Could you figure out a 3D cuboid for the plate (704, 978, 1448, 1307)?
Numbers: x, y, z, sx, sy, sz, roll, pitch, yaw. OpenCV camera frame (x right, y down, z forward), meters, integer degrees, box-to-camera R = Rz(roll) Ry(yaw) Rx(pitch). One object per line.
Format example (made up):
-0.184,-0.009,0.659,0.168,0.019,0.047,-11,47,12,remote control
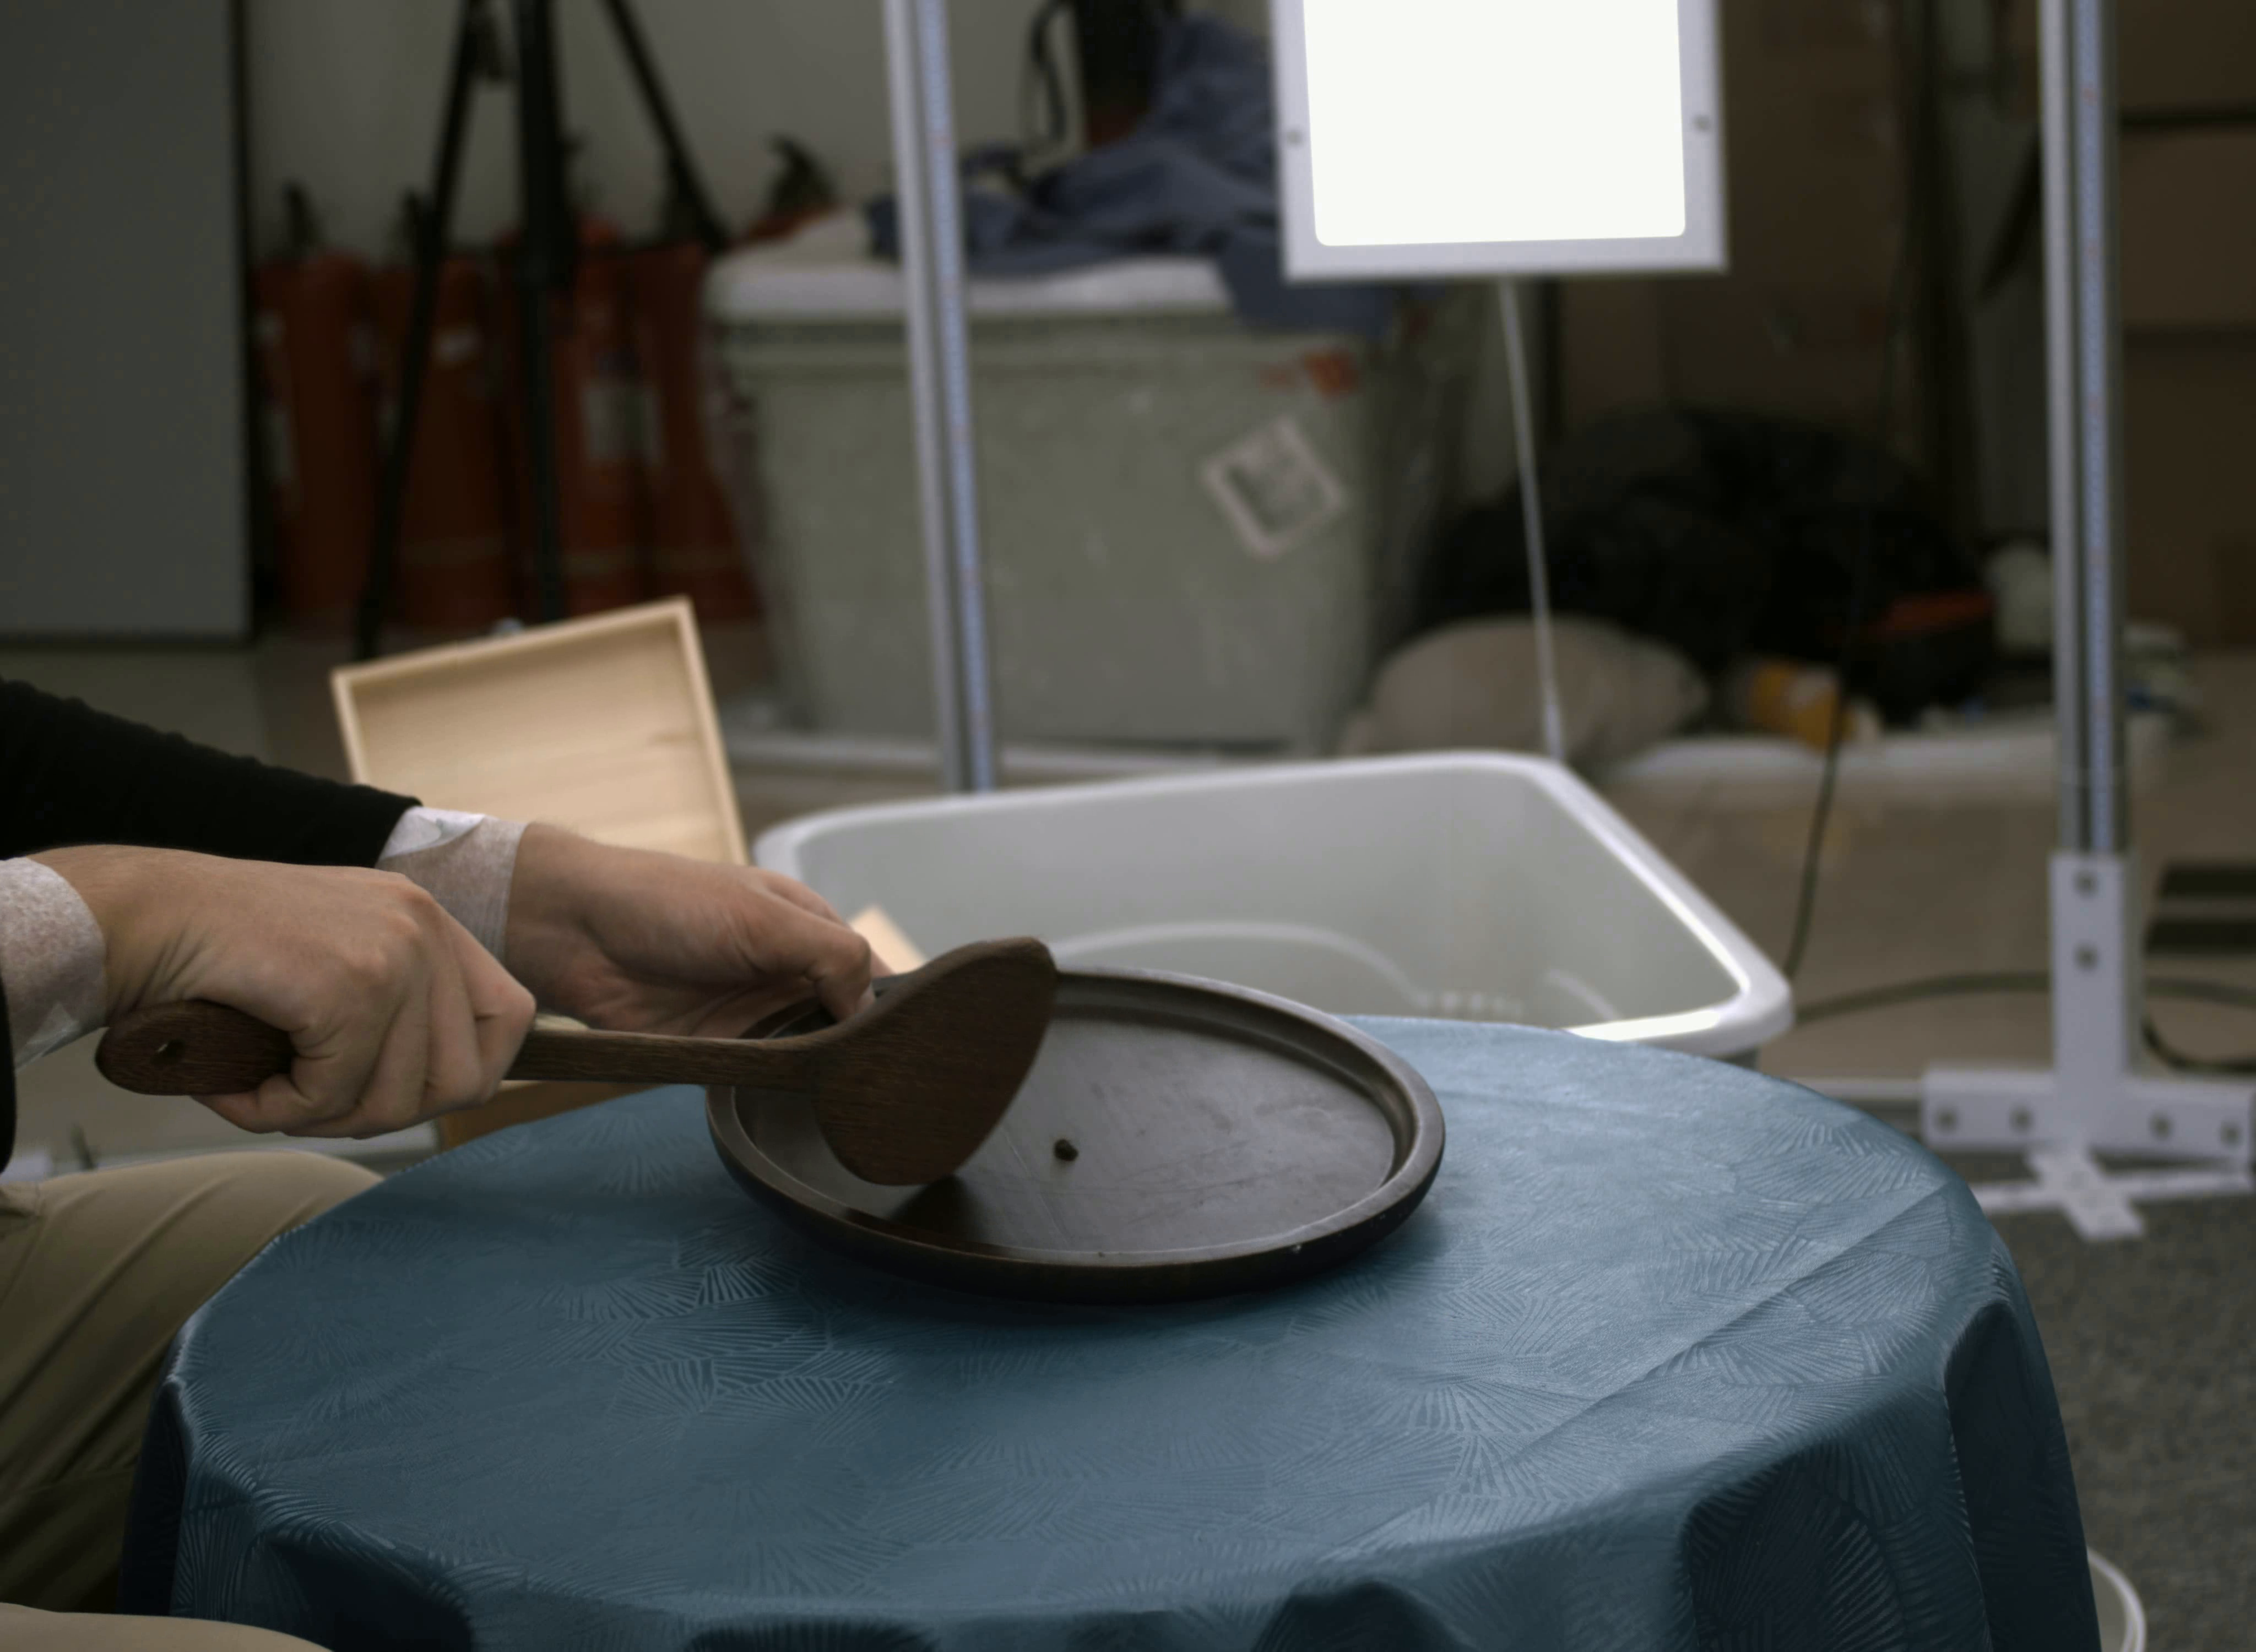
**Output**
-0.018,0.104,1.868,0.253,0.029,0.254,3,21,-2,plate

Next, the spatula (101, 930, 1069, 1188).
-0.158,0.069,1.688,0.376,0.097,0.016,5,27,-45,spatula
